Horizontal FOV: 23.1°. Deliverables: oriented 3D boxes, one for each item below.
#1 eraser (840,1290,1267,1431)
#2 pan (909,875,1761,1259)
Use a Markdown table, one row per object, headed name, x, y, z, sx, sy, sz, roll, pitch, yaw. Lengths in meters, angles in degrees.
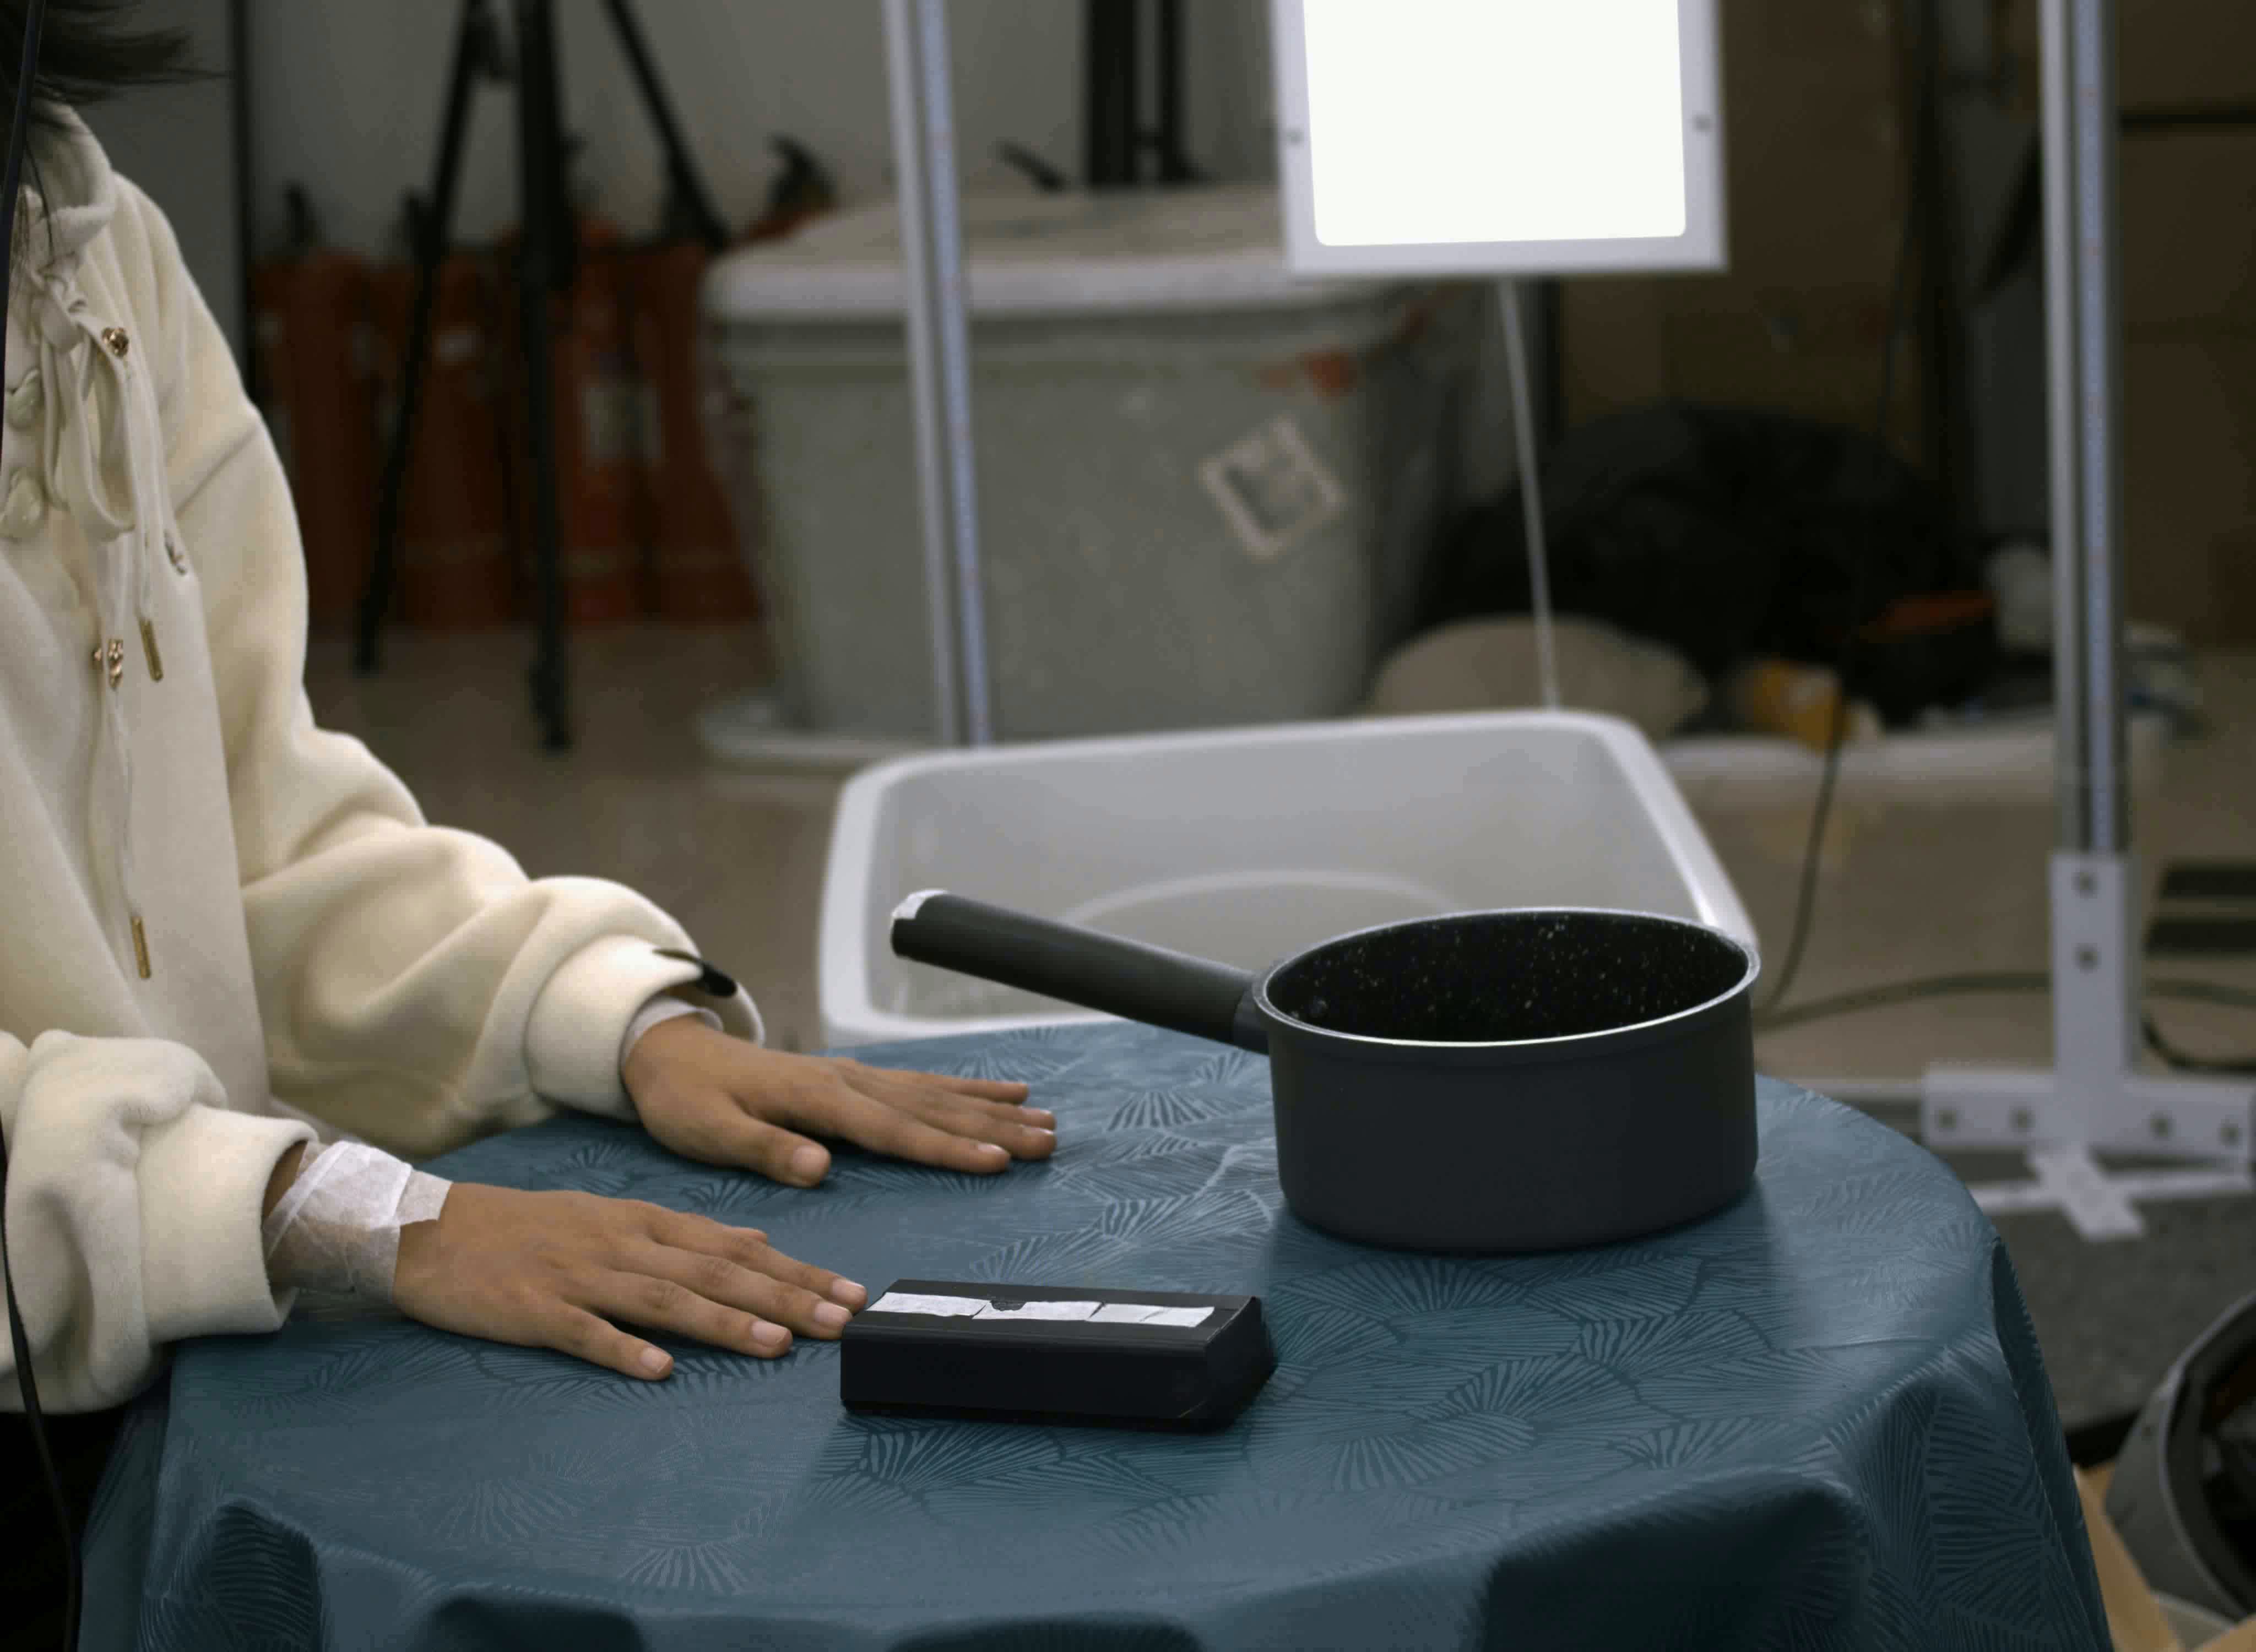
| name | x | y | z | sx | sy | sz | roll | pitch | yaw |
| --- | --- | --- | --- | --- | --- | --- | --- | --- | --- |
| eraser | -0.021 | 0.164 | 1.698 | 0.127 | 0.030 | 0.052 | -1 | 14 | 24 |
| pan | 0.064 | 0.076 | 1.903 | 0.335 | 0.087 | 0.168 | 6 | 17 | 35 |
